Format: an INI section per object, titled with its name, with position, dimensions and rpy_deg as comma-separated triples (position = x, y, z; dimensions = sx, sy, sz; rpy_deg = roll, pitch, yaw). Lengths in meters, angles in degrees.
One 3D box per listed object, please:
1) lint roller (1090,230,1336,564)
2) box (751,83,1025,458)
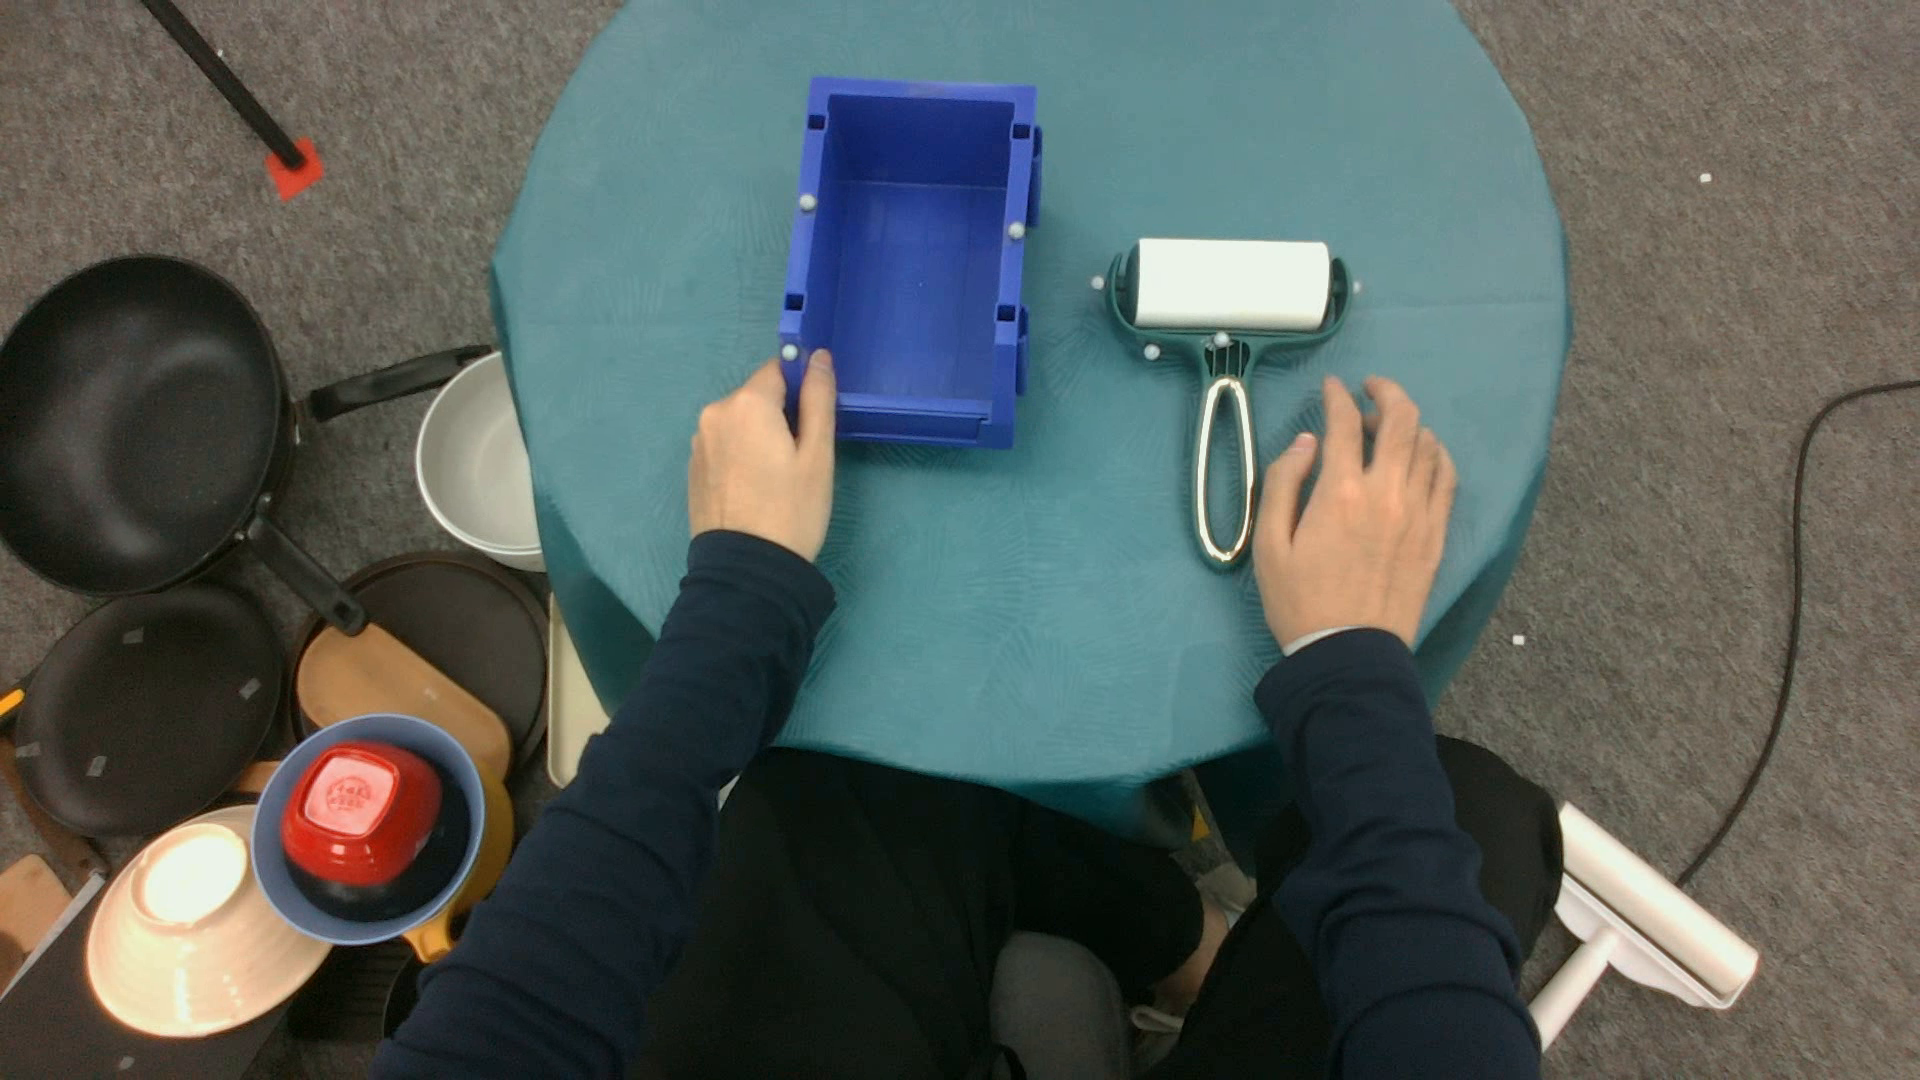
[lint roller]
position = 0.135, -0.079, 0.739
dimensions = 0.134, 0.048, 0.180
rpy_deg = 2, 77, 0
[box]
position = -0.035, -0.139, 0.730
dimensions = 0.124, 0.081, 0.180
rpy_deg = 6, 69, 3
